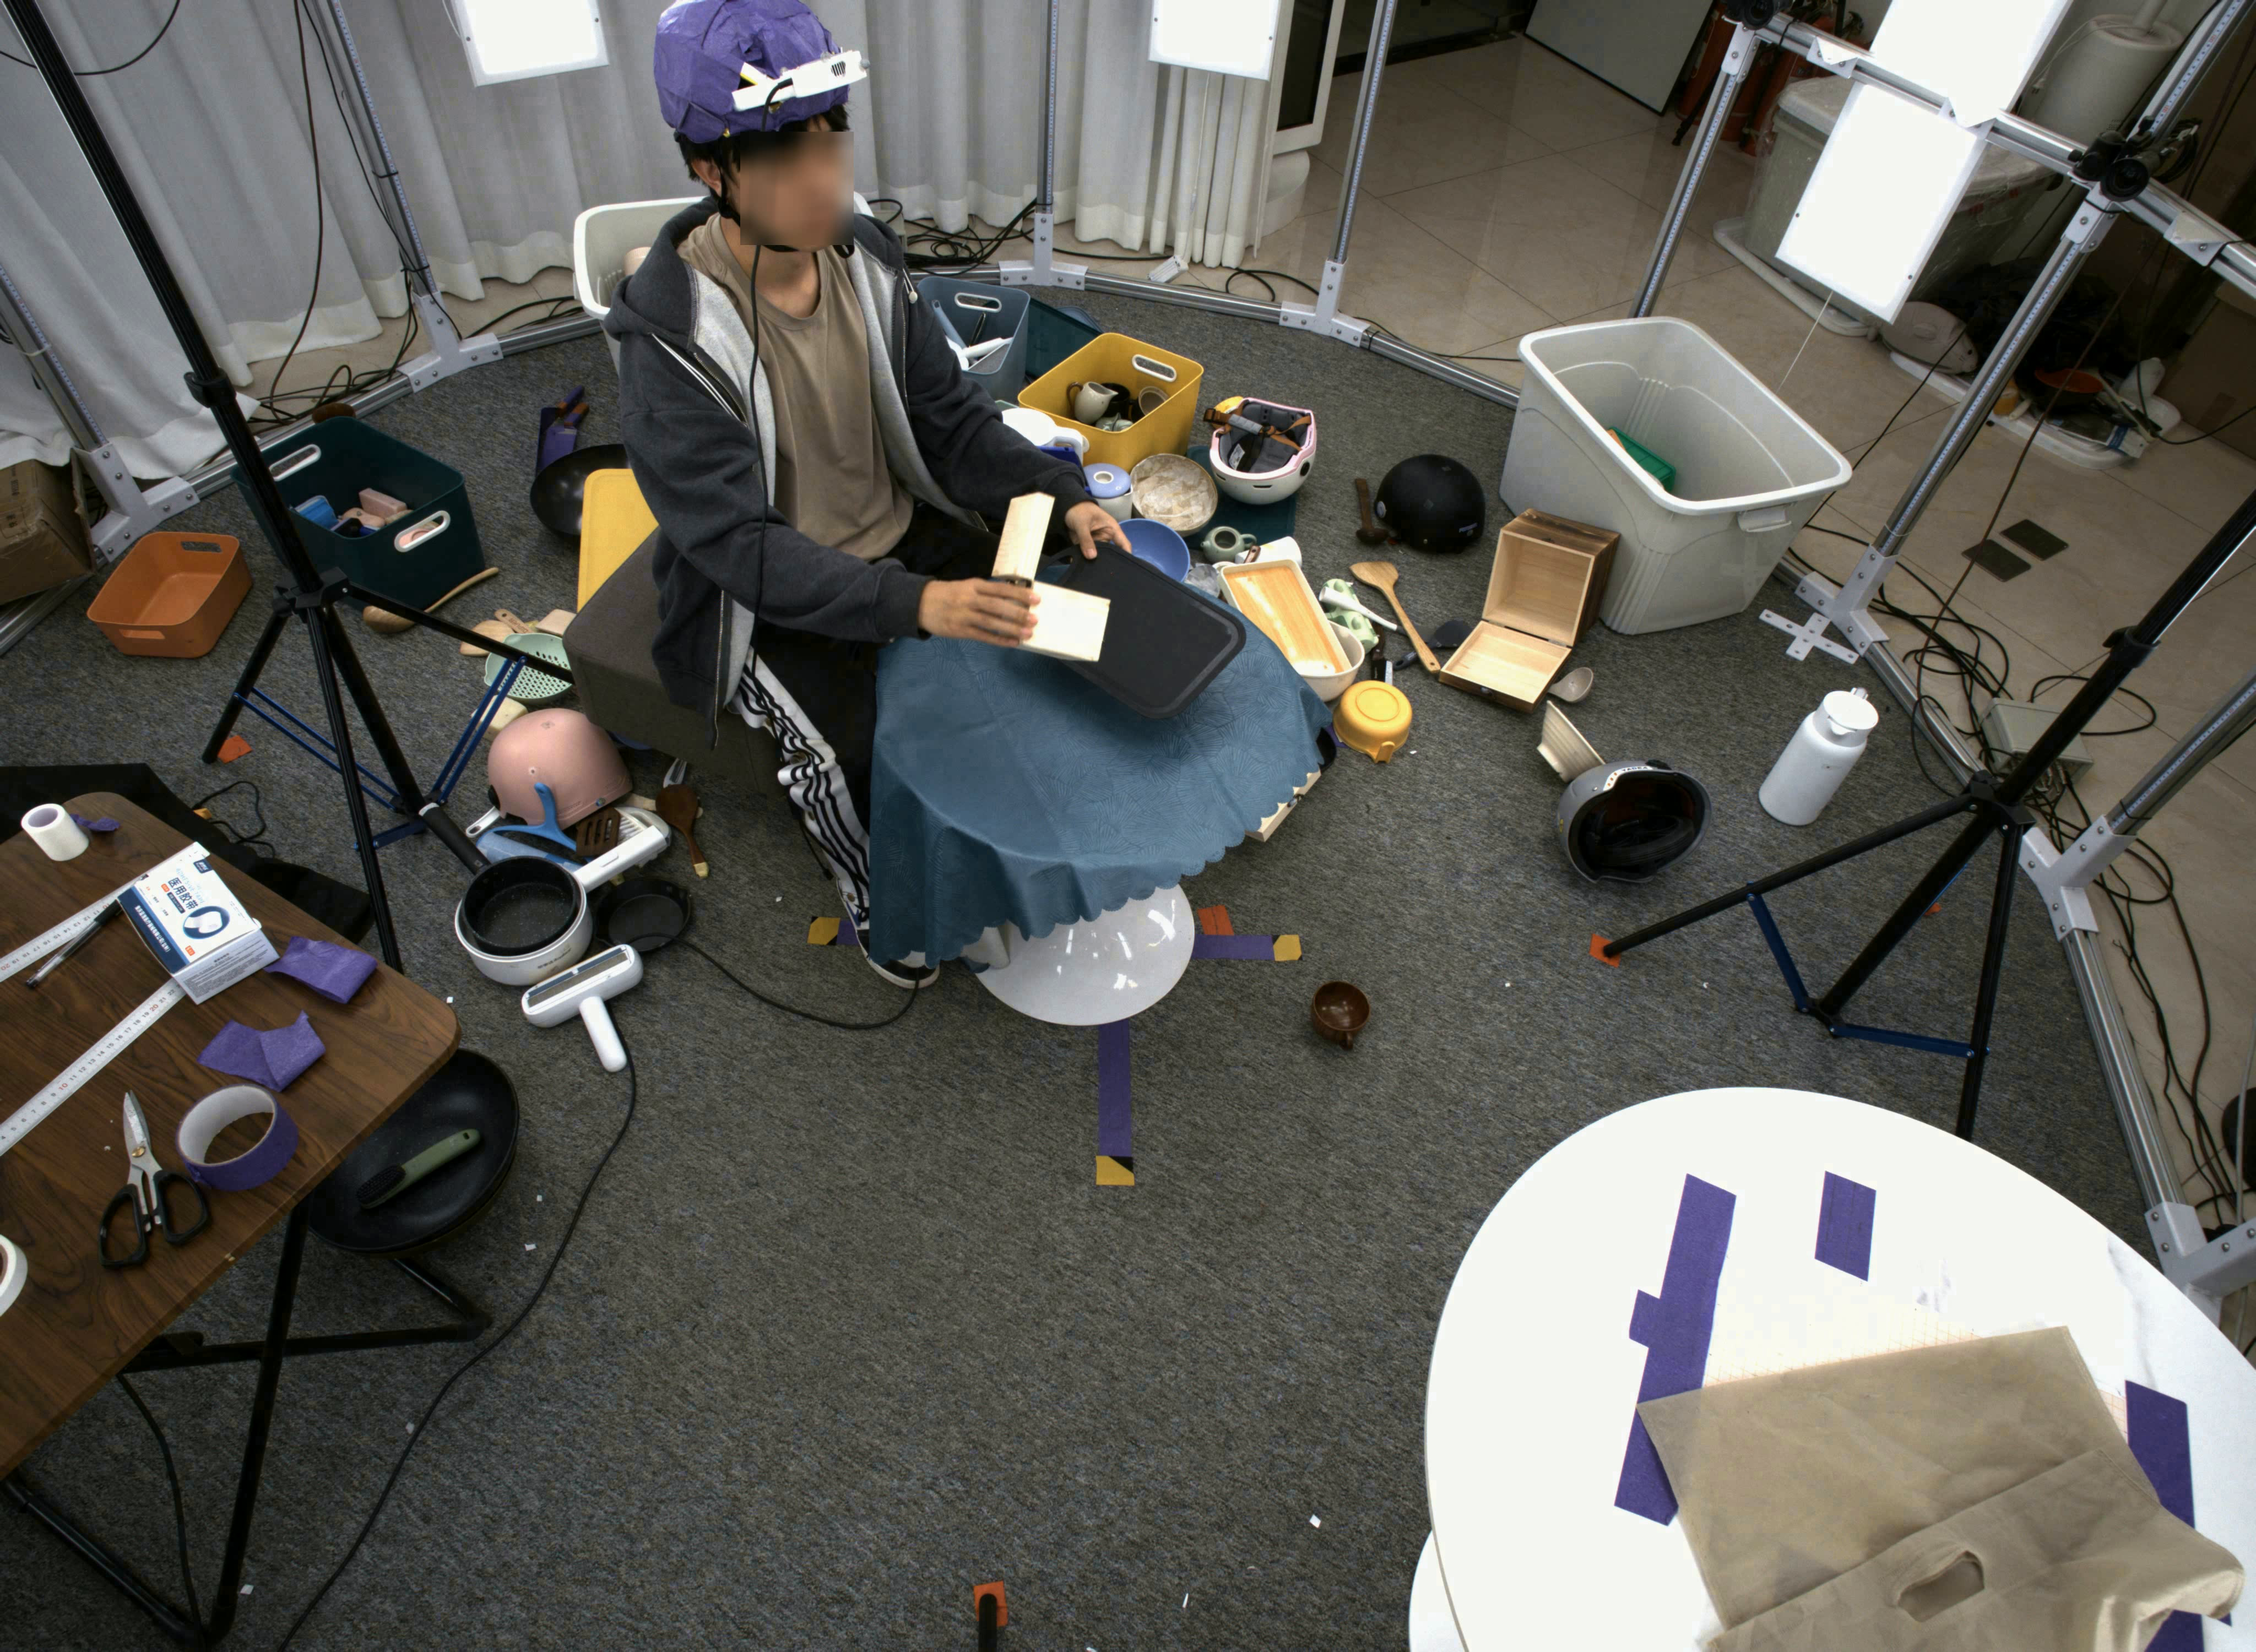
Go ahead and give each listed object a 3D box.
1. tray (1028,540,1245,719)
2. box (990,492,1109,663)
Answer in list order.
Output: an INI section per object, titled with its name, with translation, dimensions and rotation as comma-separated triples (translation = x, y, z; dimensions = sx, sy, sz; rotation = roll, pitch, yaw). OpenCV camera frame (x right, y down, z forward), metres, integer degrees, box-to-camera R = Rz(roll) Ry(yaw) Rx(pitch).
[tray]
translation = -0.009, -0.287, 1.808
dimensions = 0.329, 0.009, 0.213
rotation = 36, 67, 22
[box]
translation = -0.093, -0.304, 1.582
dimensions = 0.133, 0.184, 0.103
rotation = 9, 5, -23
